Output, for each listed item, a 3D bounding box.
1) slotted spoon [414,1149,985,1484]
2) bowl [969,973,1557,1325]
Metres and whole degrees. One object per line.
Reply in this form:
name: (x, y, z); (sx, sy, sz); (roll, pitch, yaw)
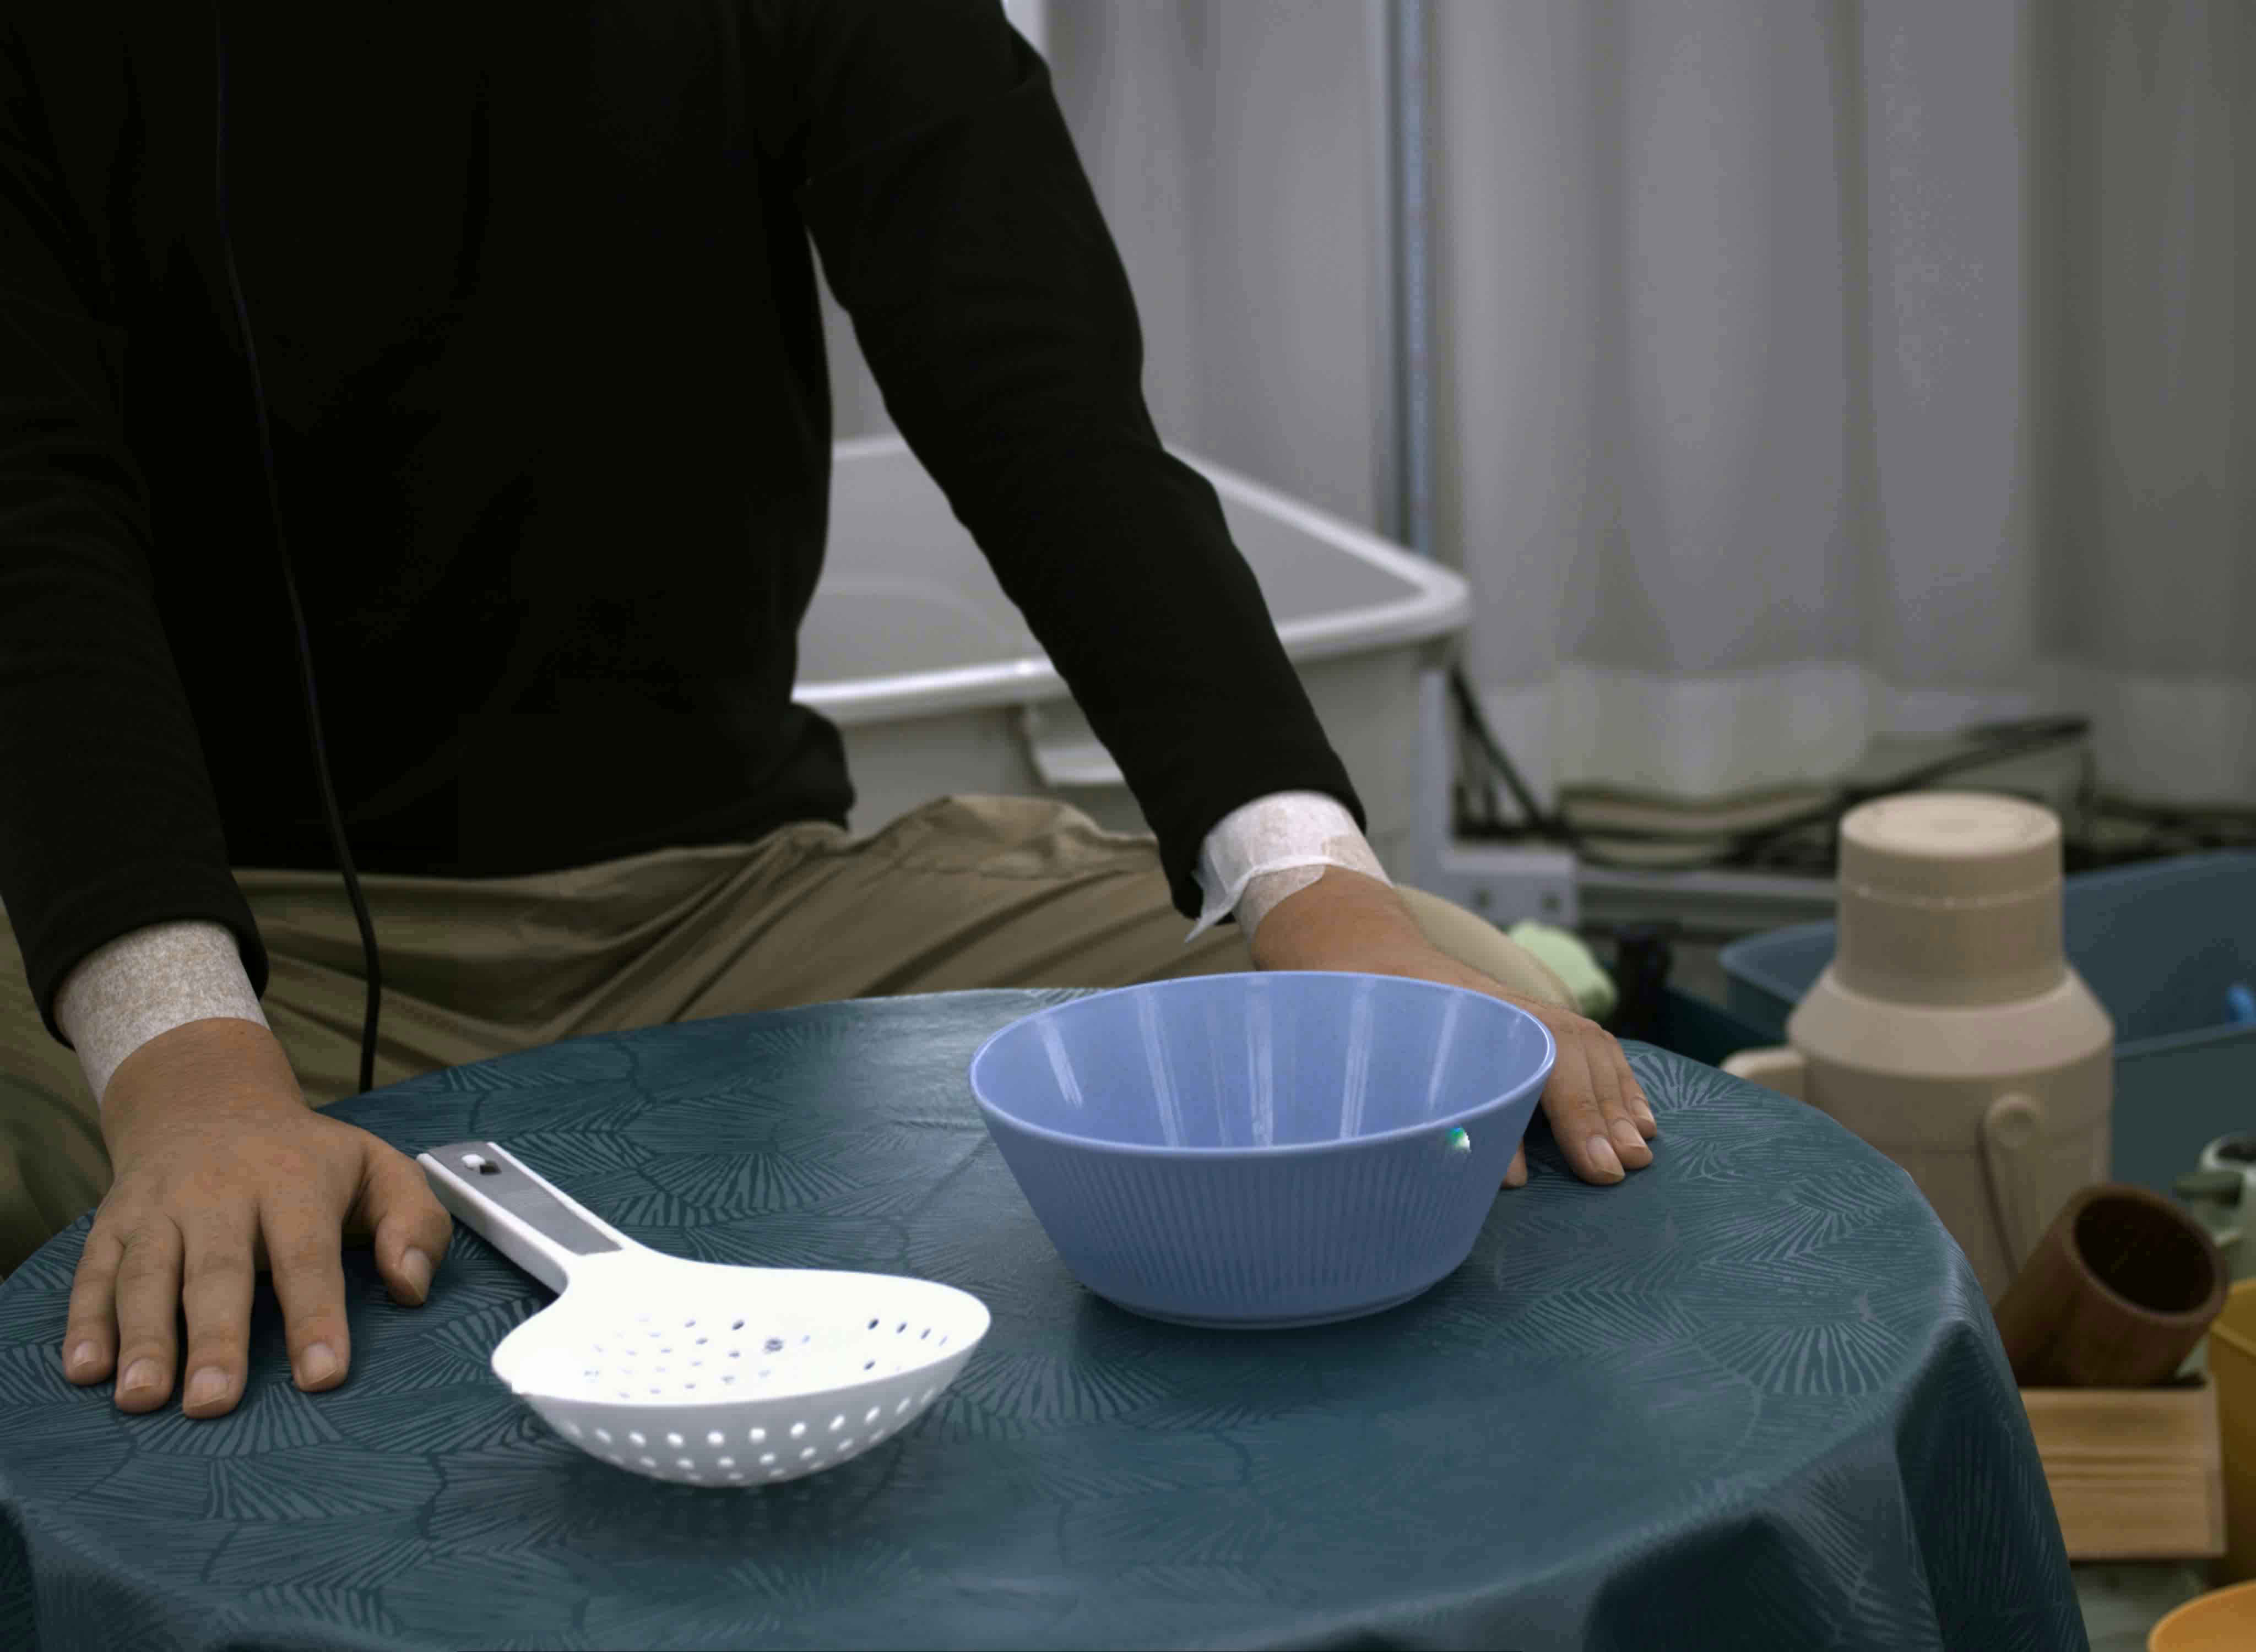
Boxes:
slotted spoon: (-0.148, 0.132, 1.588); (0.135, 0.045, 0.352); (-9, 15, -22)
bowl: (0.041, 0.099, 1.630); (0.175, 0.070, 0.177); (-3, 14, 0)
